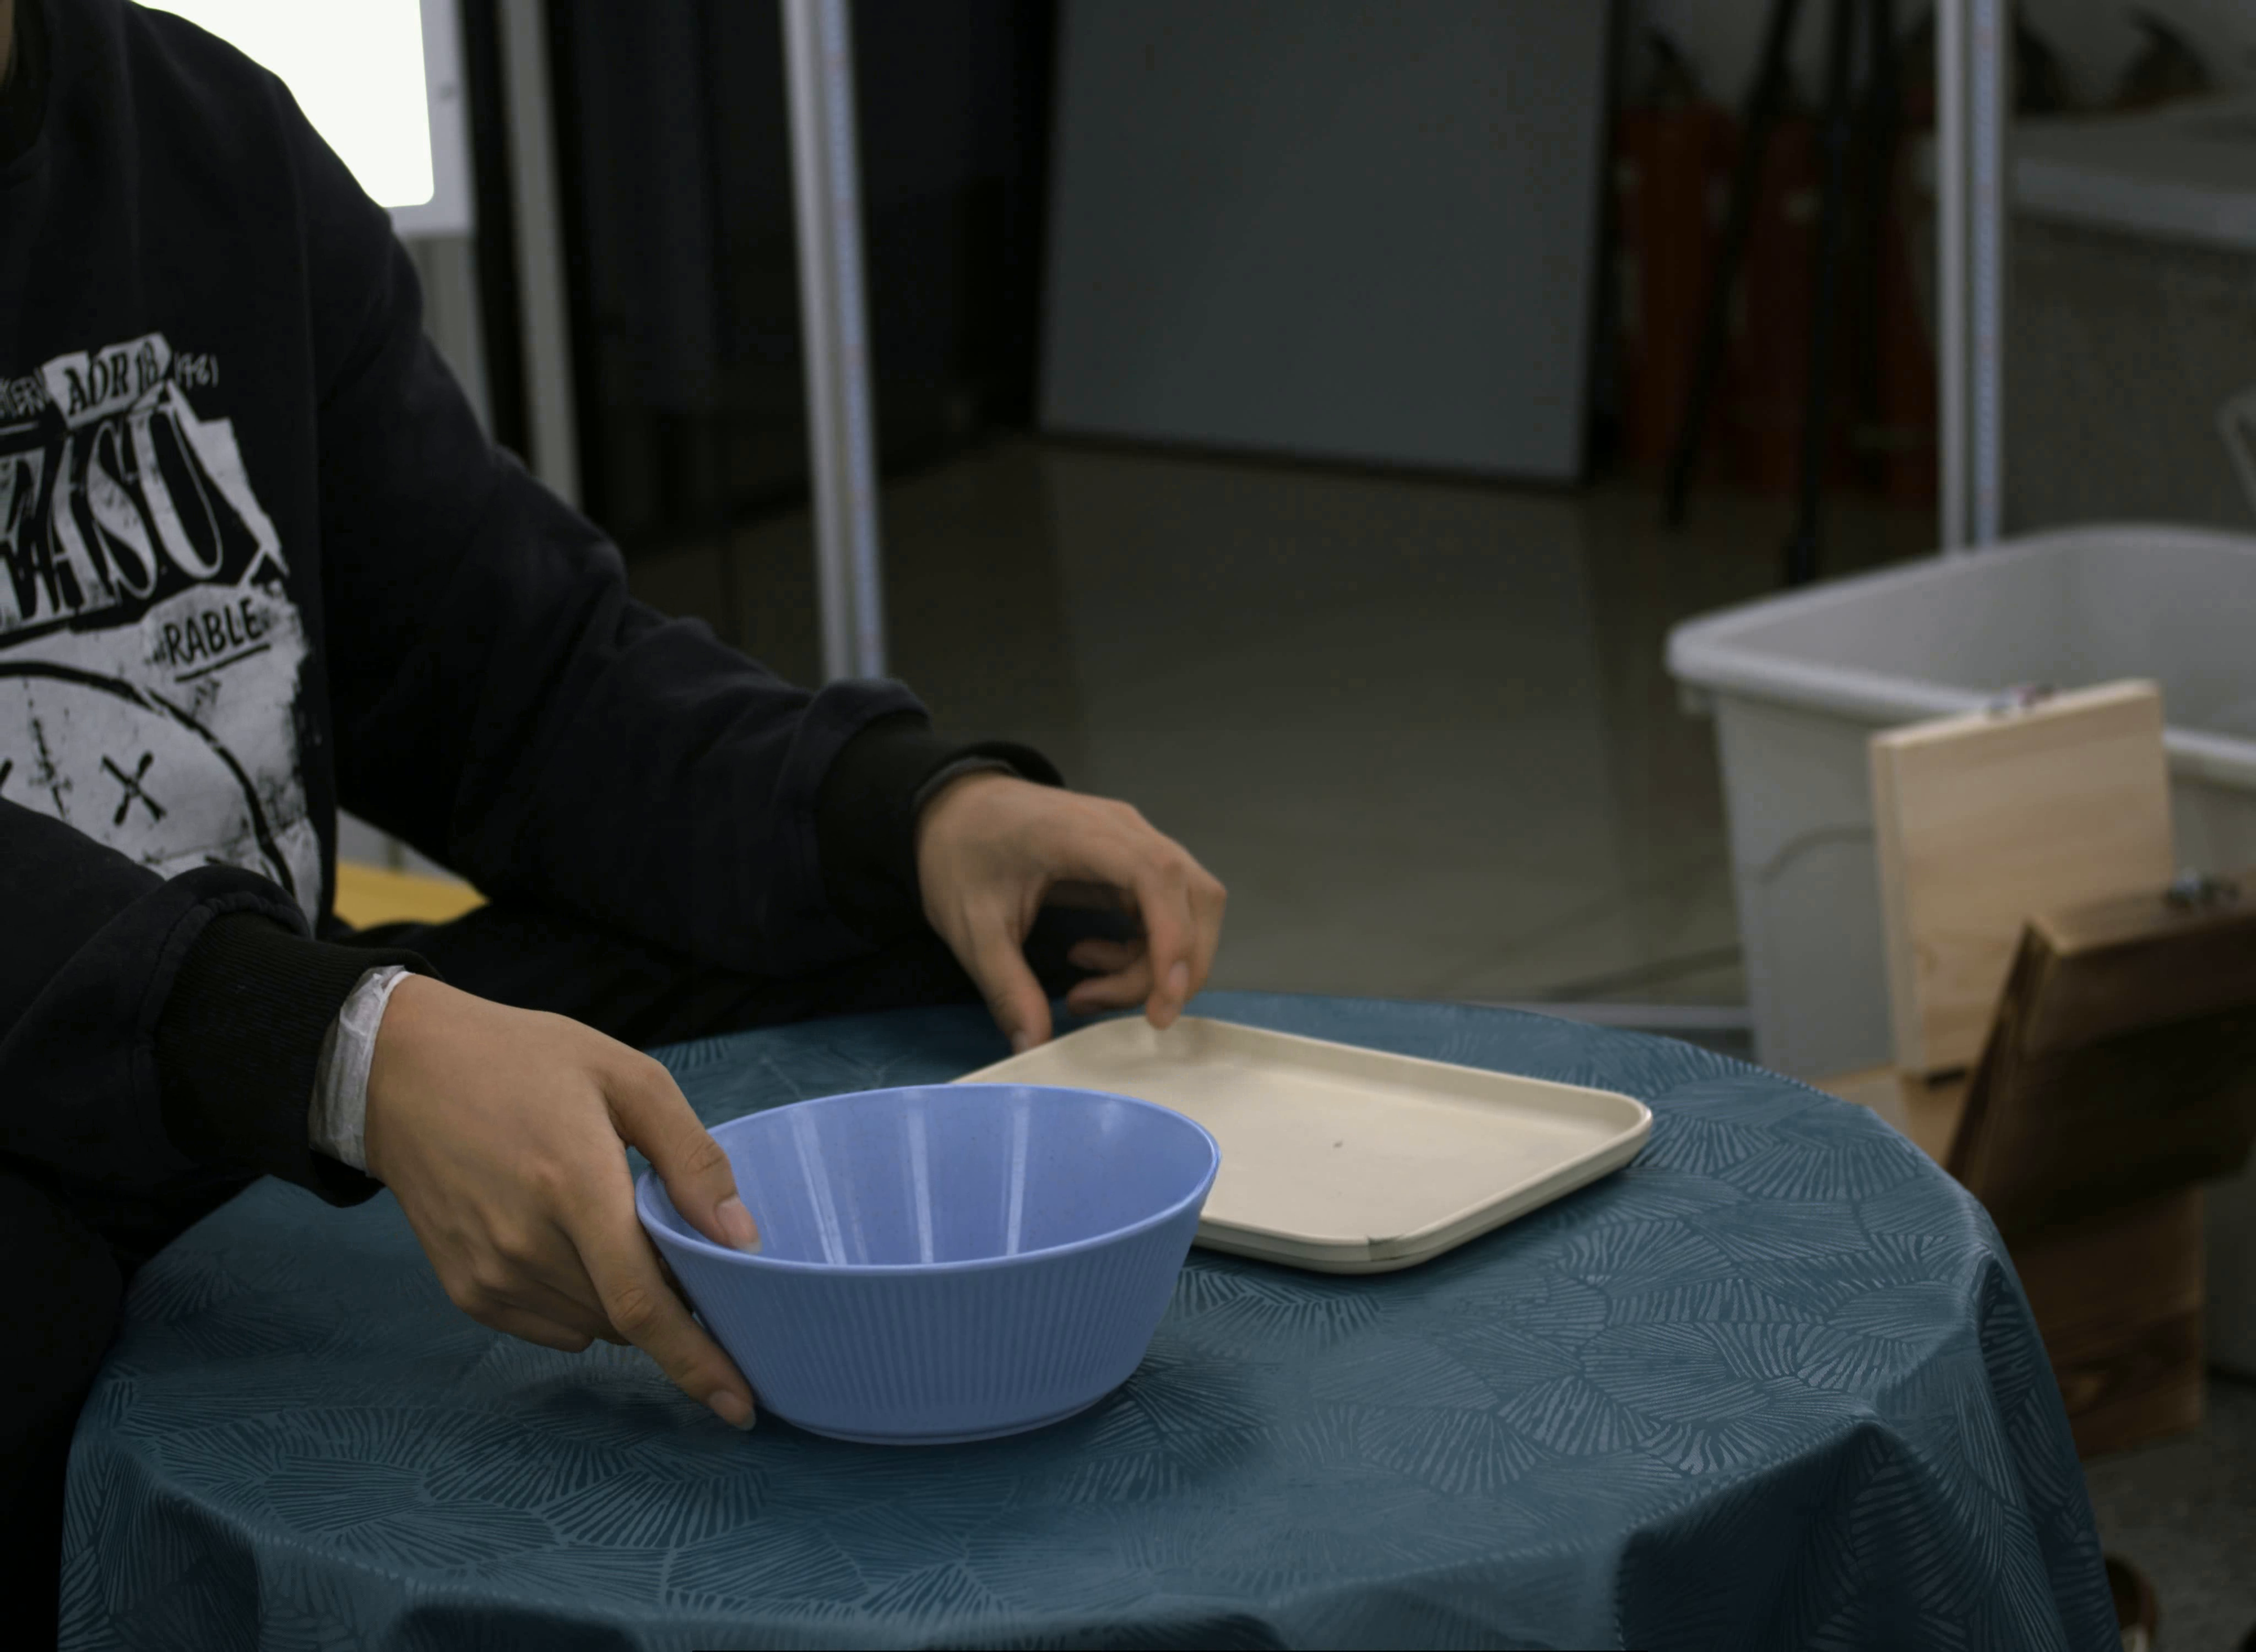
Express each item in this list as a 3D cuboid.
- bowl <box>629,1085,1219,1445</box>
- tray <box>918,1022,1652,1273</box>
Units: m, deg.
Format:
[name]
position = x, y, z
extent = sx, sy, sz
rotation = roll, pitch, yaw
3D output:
[bowl]
position = -0.058, 0.132, 1.596
extent = 0.174, 0.071, 0.176
rotation = -3, 14, 0
[tray]
position = 0.042, 0.106, 1.785
extent = 0.241, 0.017, 0.168
rotation = 8, 18, 41
